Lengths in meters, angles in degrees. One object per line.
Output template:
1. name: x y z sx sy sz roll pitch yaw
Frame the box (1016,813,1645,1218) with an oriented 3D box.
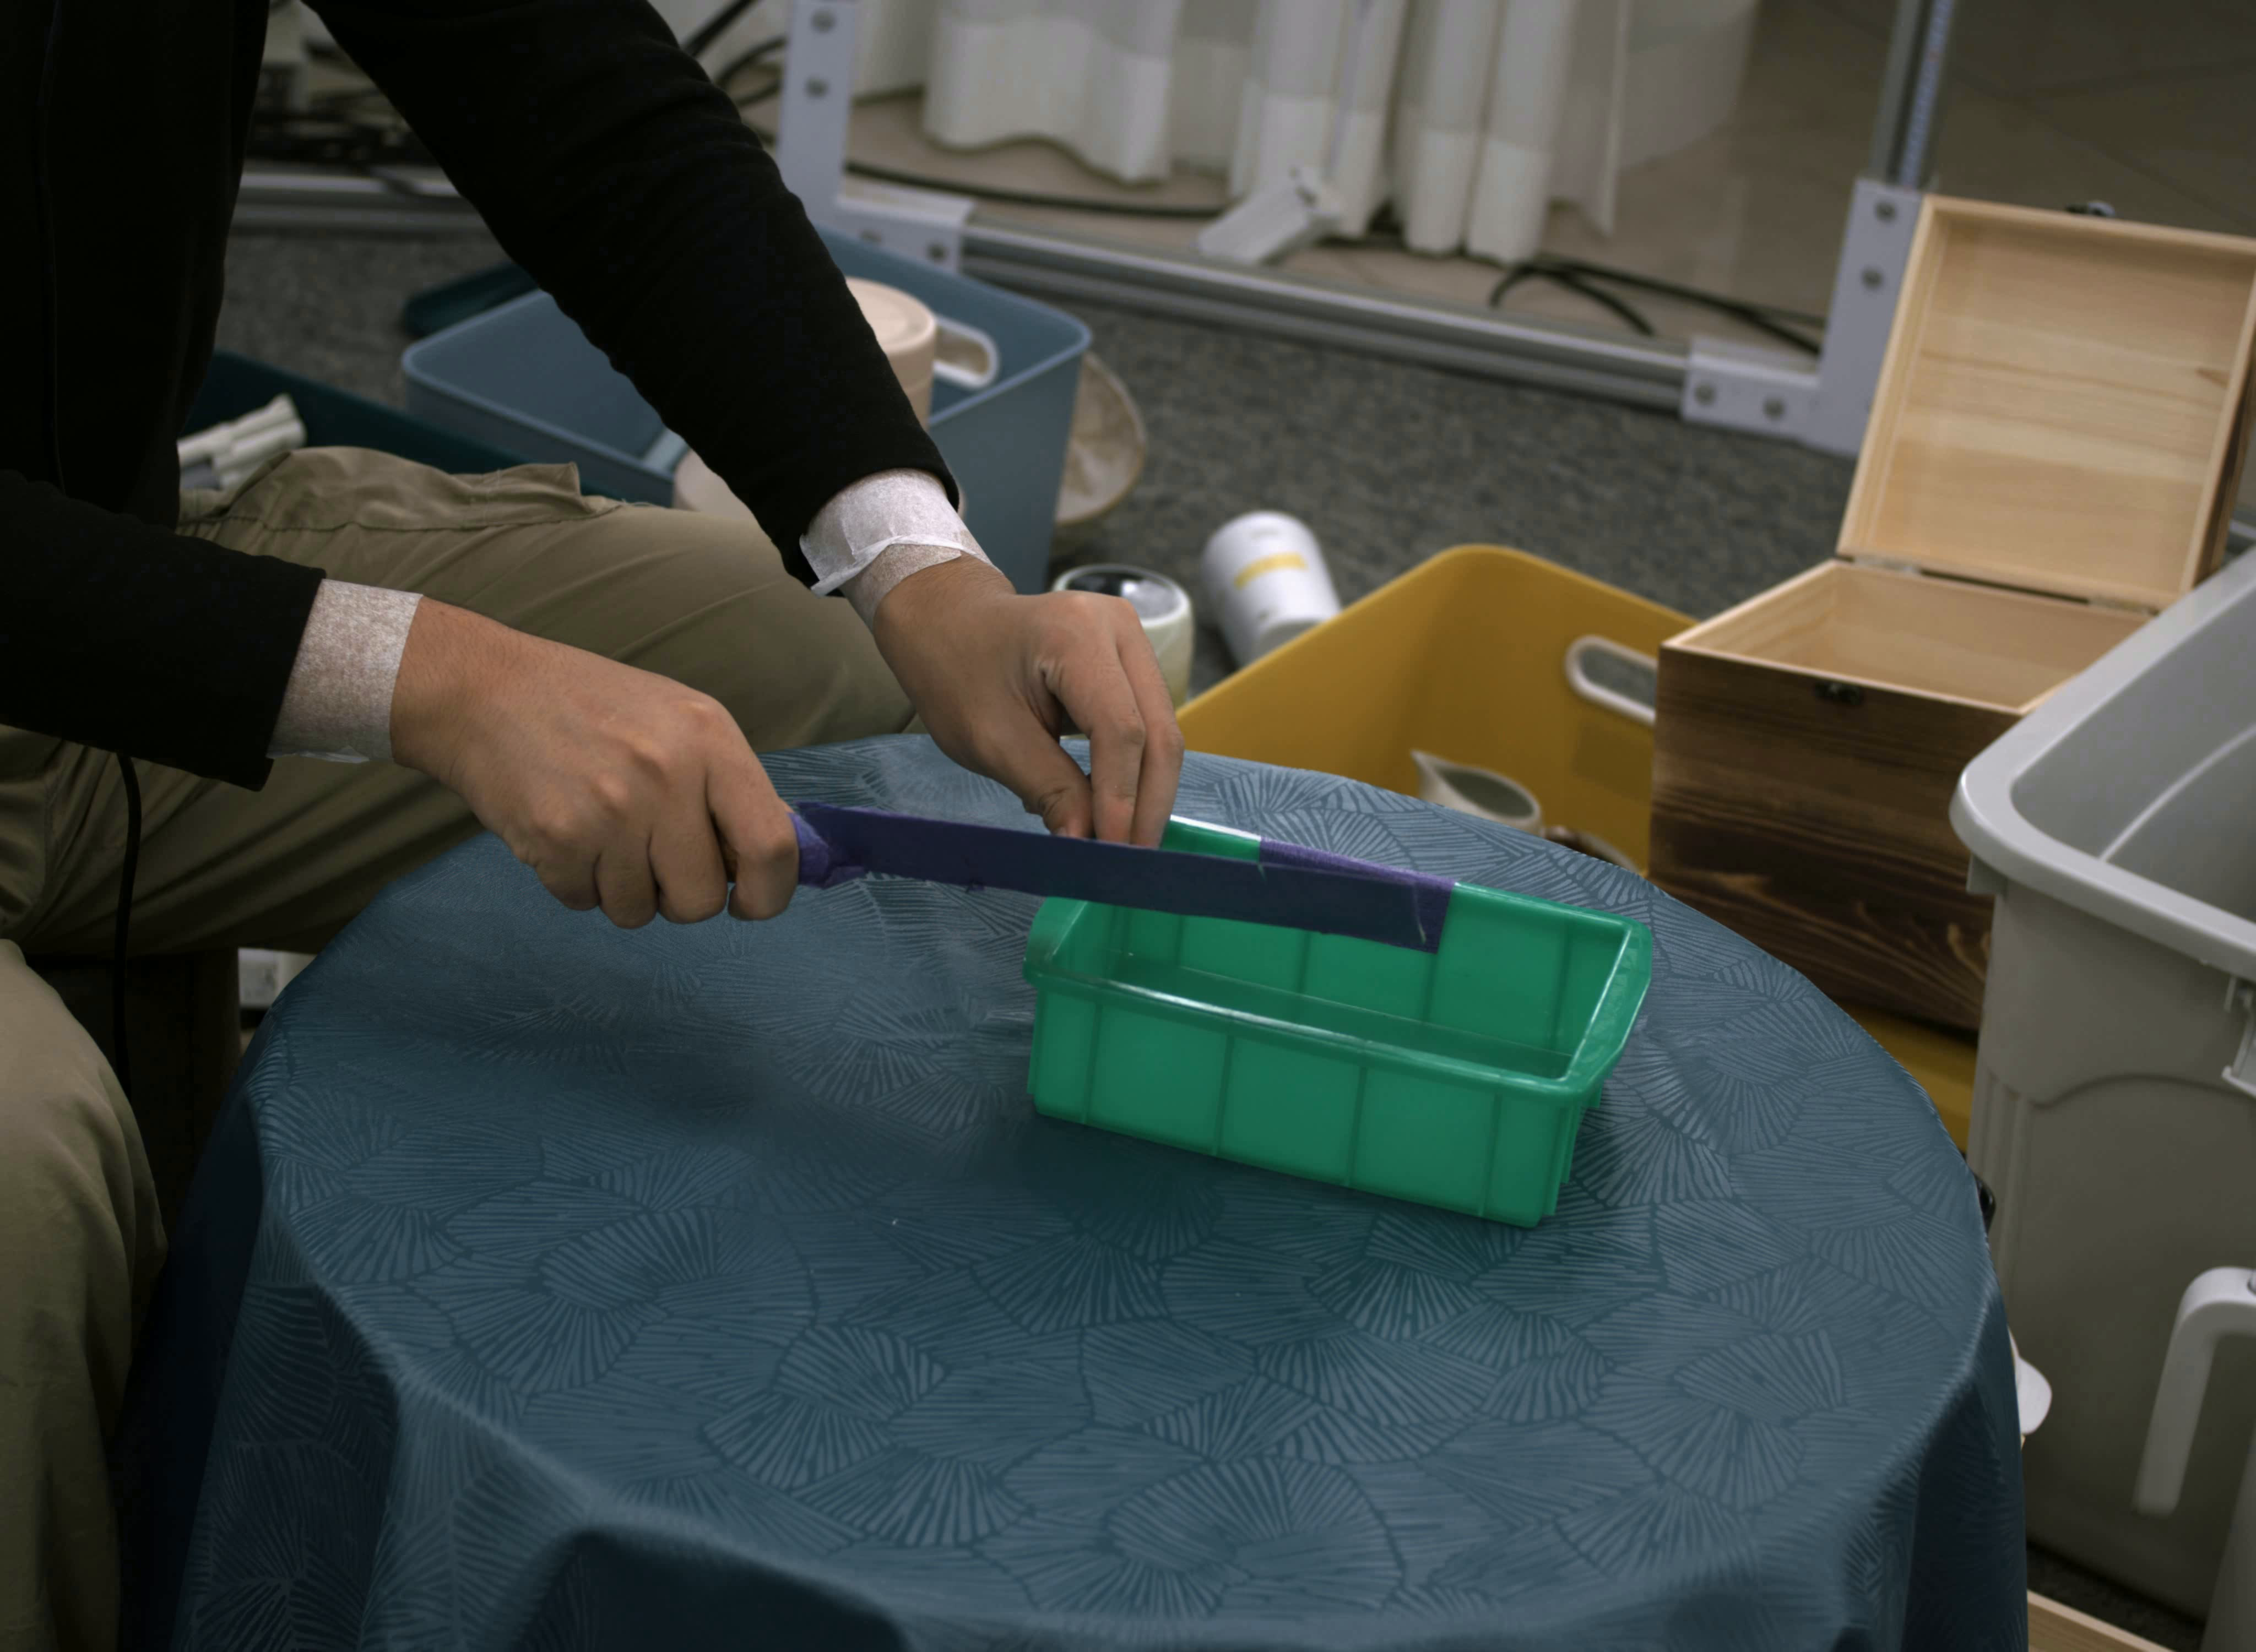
1. box: 0.070 0.067 1.860 0.210 0.065 0.139 10 26 12

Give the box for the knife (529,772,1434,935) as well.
1. knife: -0.053 0.004 1.786 0.315 0.032 0.103 6 -14 9
